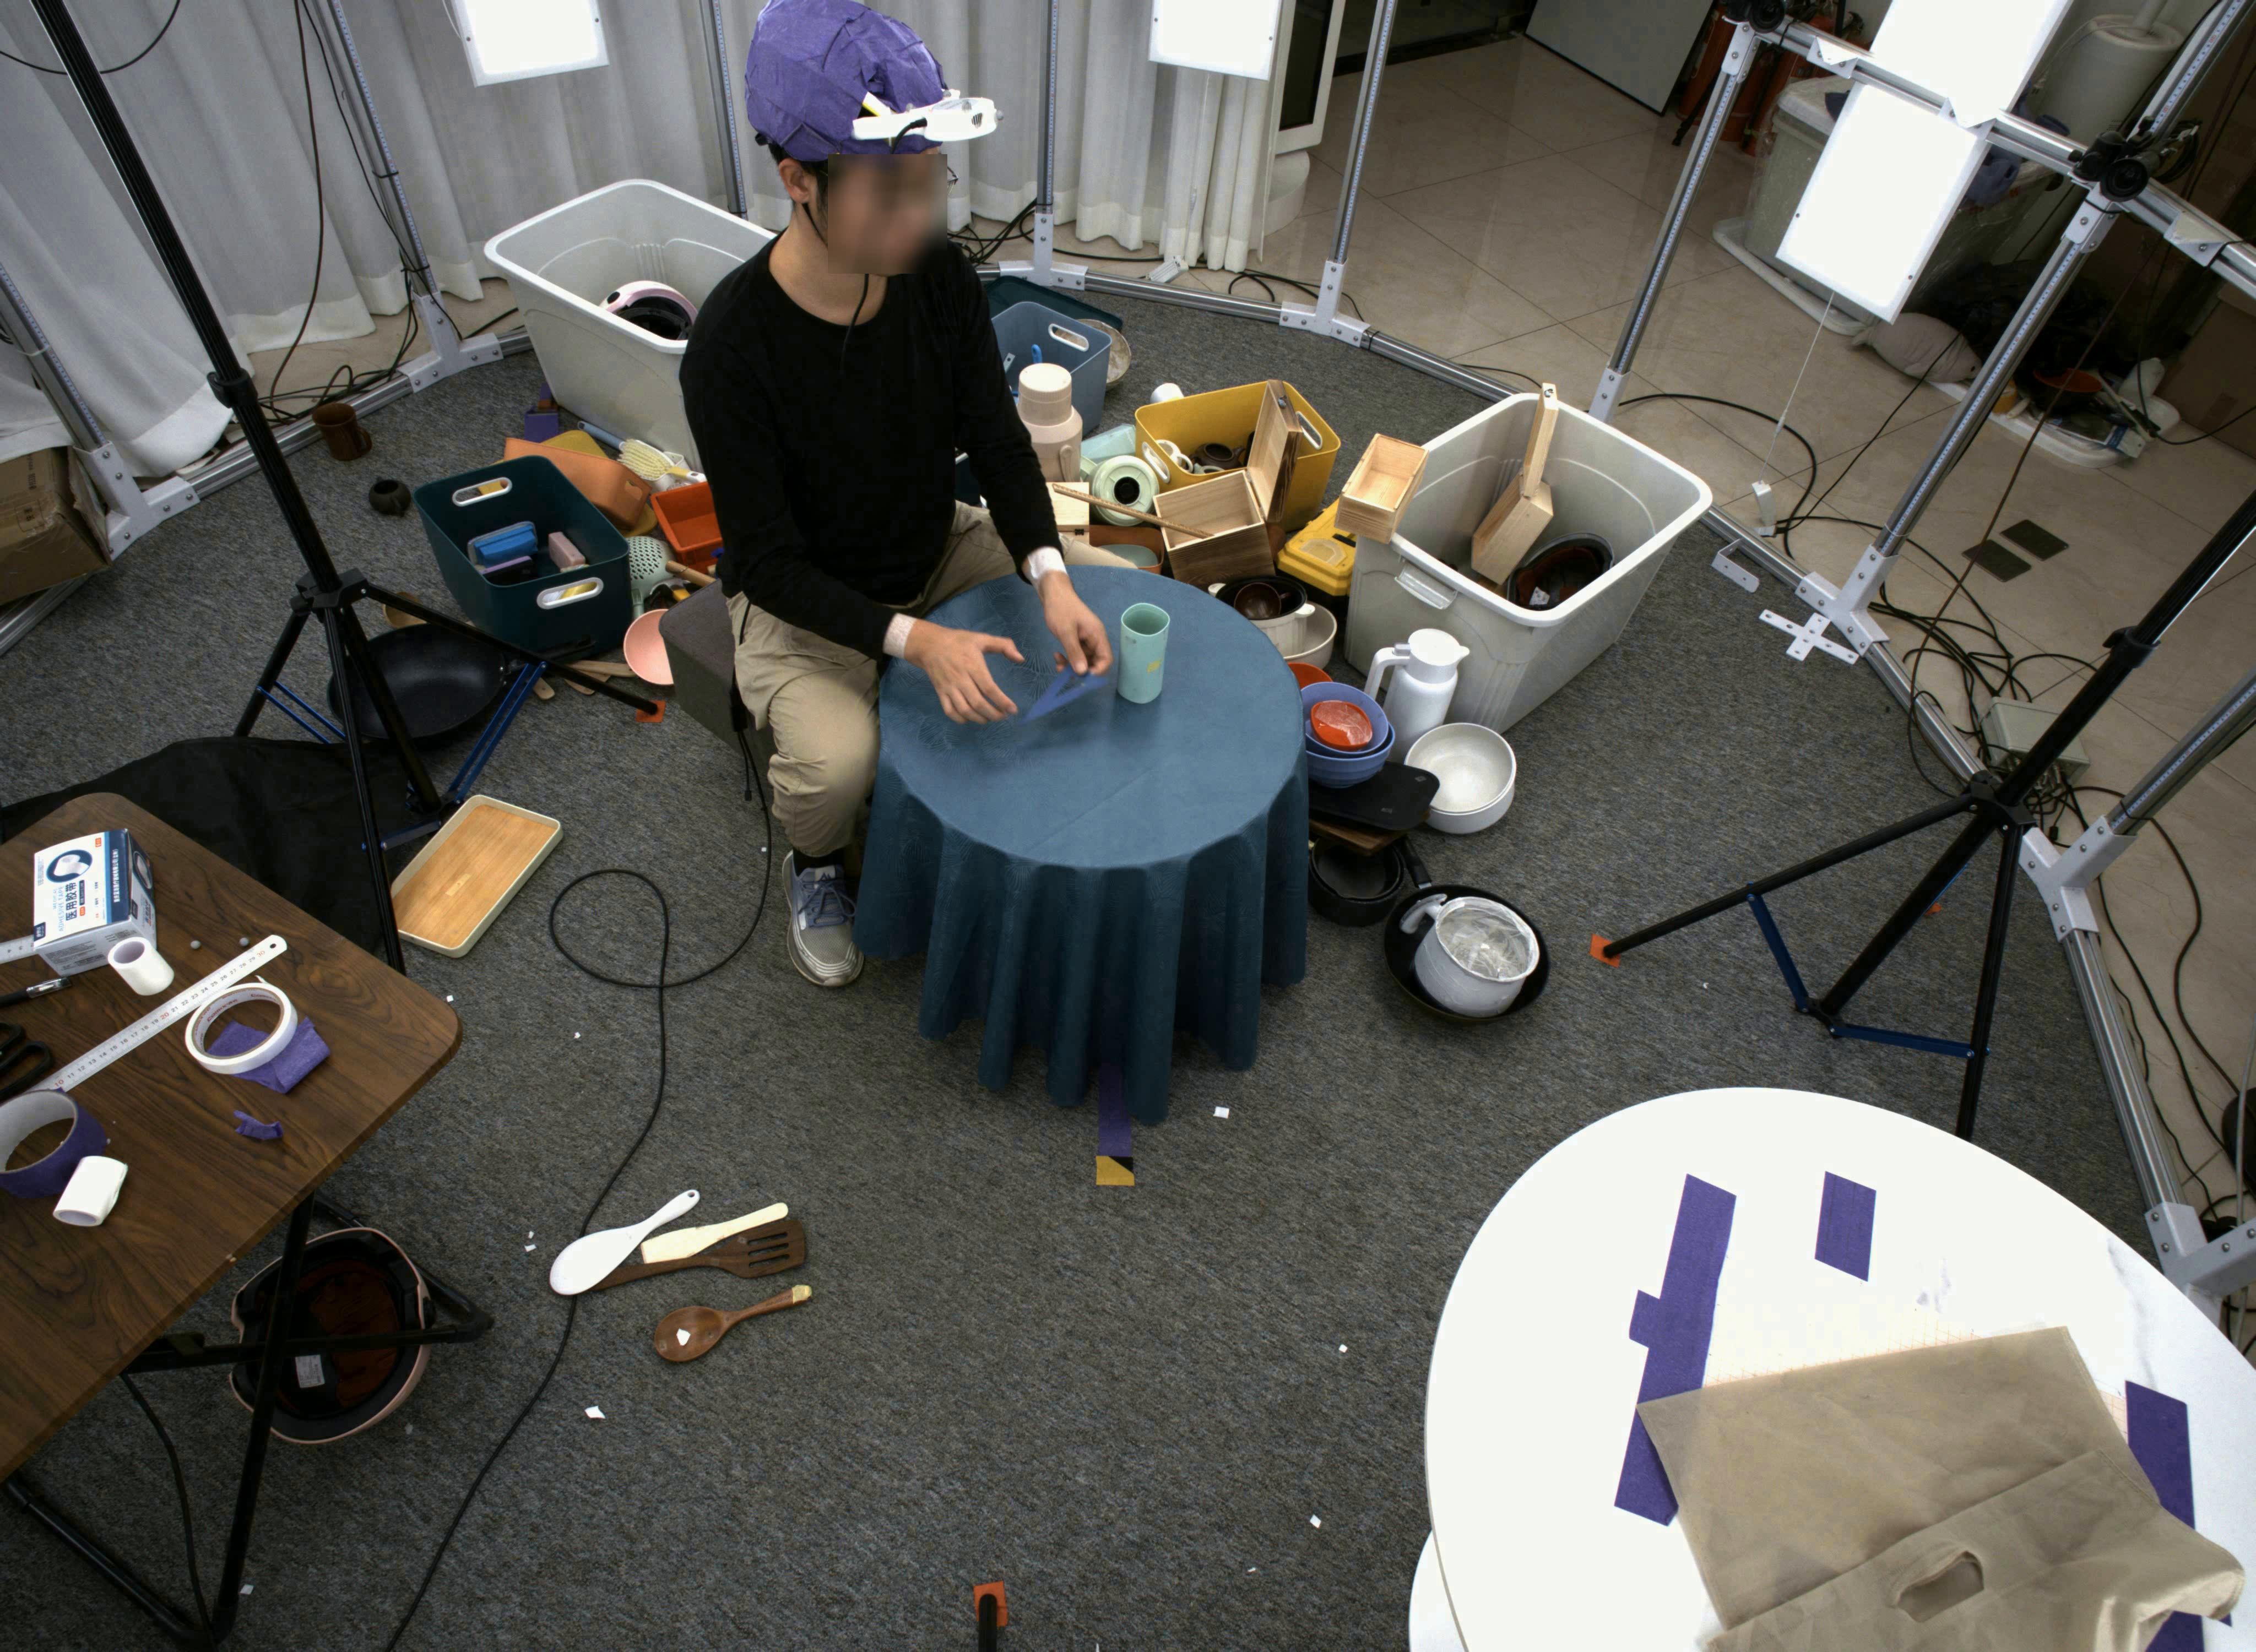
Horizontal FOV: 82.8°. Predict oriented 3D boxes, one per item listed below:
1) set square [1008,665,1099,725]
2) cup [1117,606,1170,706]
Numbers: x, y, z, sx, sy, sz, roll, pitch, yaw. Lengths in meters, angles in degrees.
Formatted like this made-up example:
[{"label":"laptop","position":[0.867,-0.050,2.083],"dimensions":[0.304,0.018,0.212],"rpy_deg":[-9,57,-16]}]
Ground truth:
[{"label":"set square","position":[-0.108,-0.184,1.756],"dimensions":[0.132,0.006,0.062],"rpy_deg":[-21,61,5]},{"label":"cup","position":[0.019,-0.239,1.798],"dimensions":[0.066,0.129,0.068],"rpy_deg":[2,50,-3]}]
